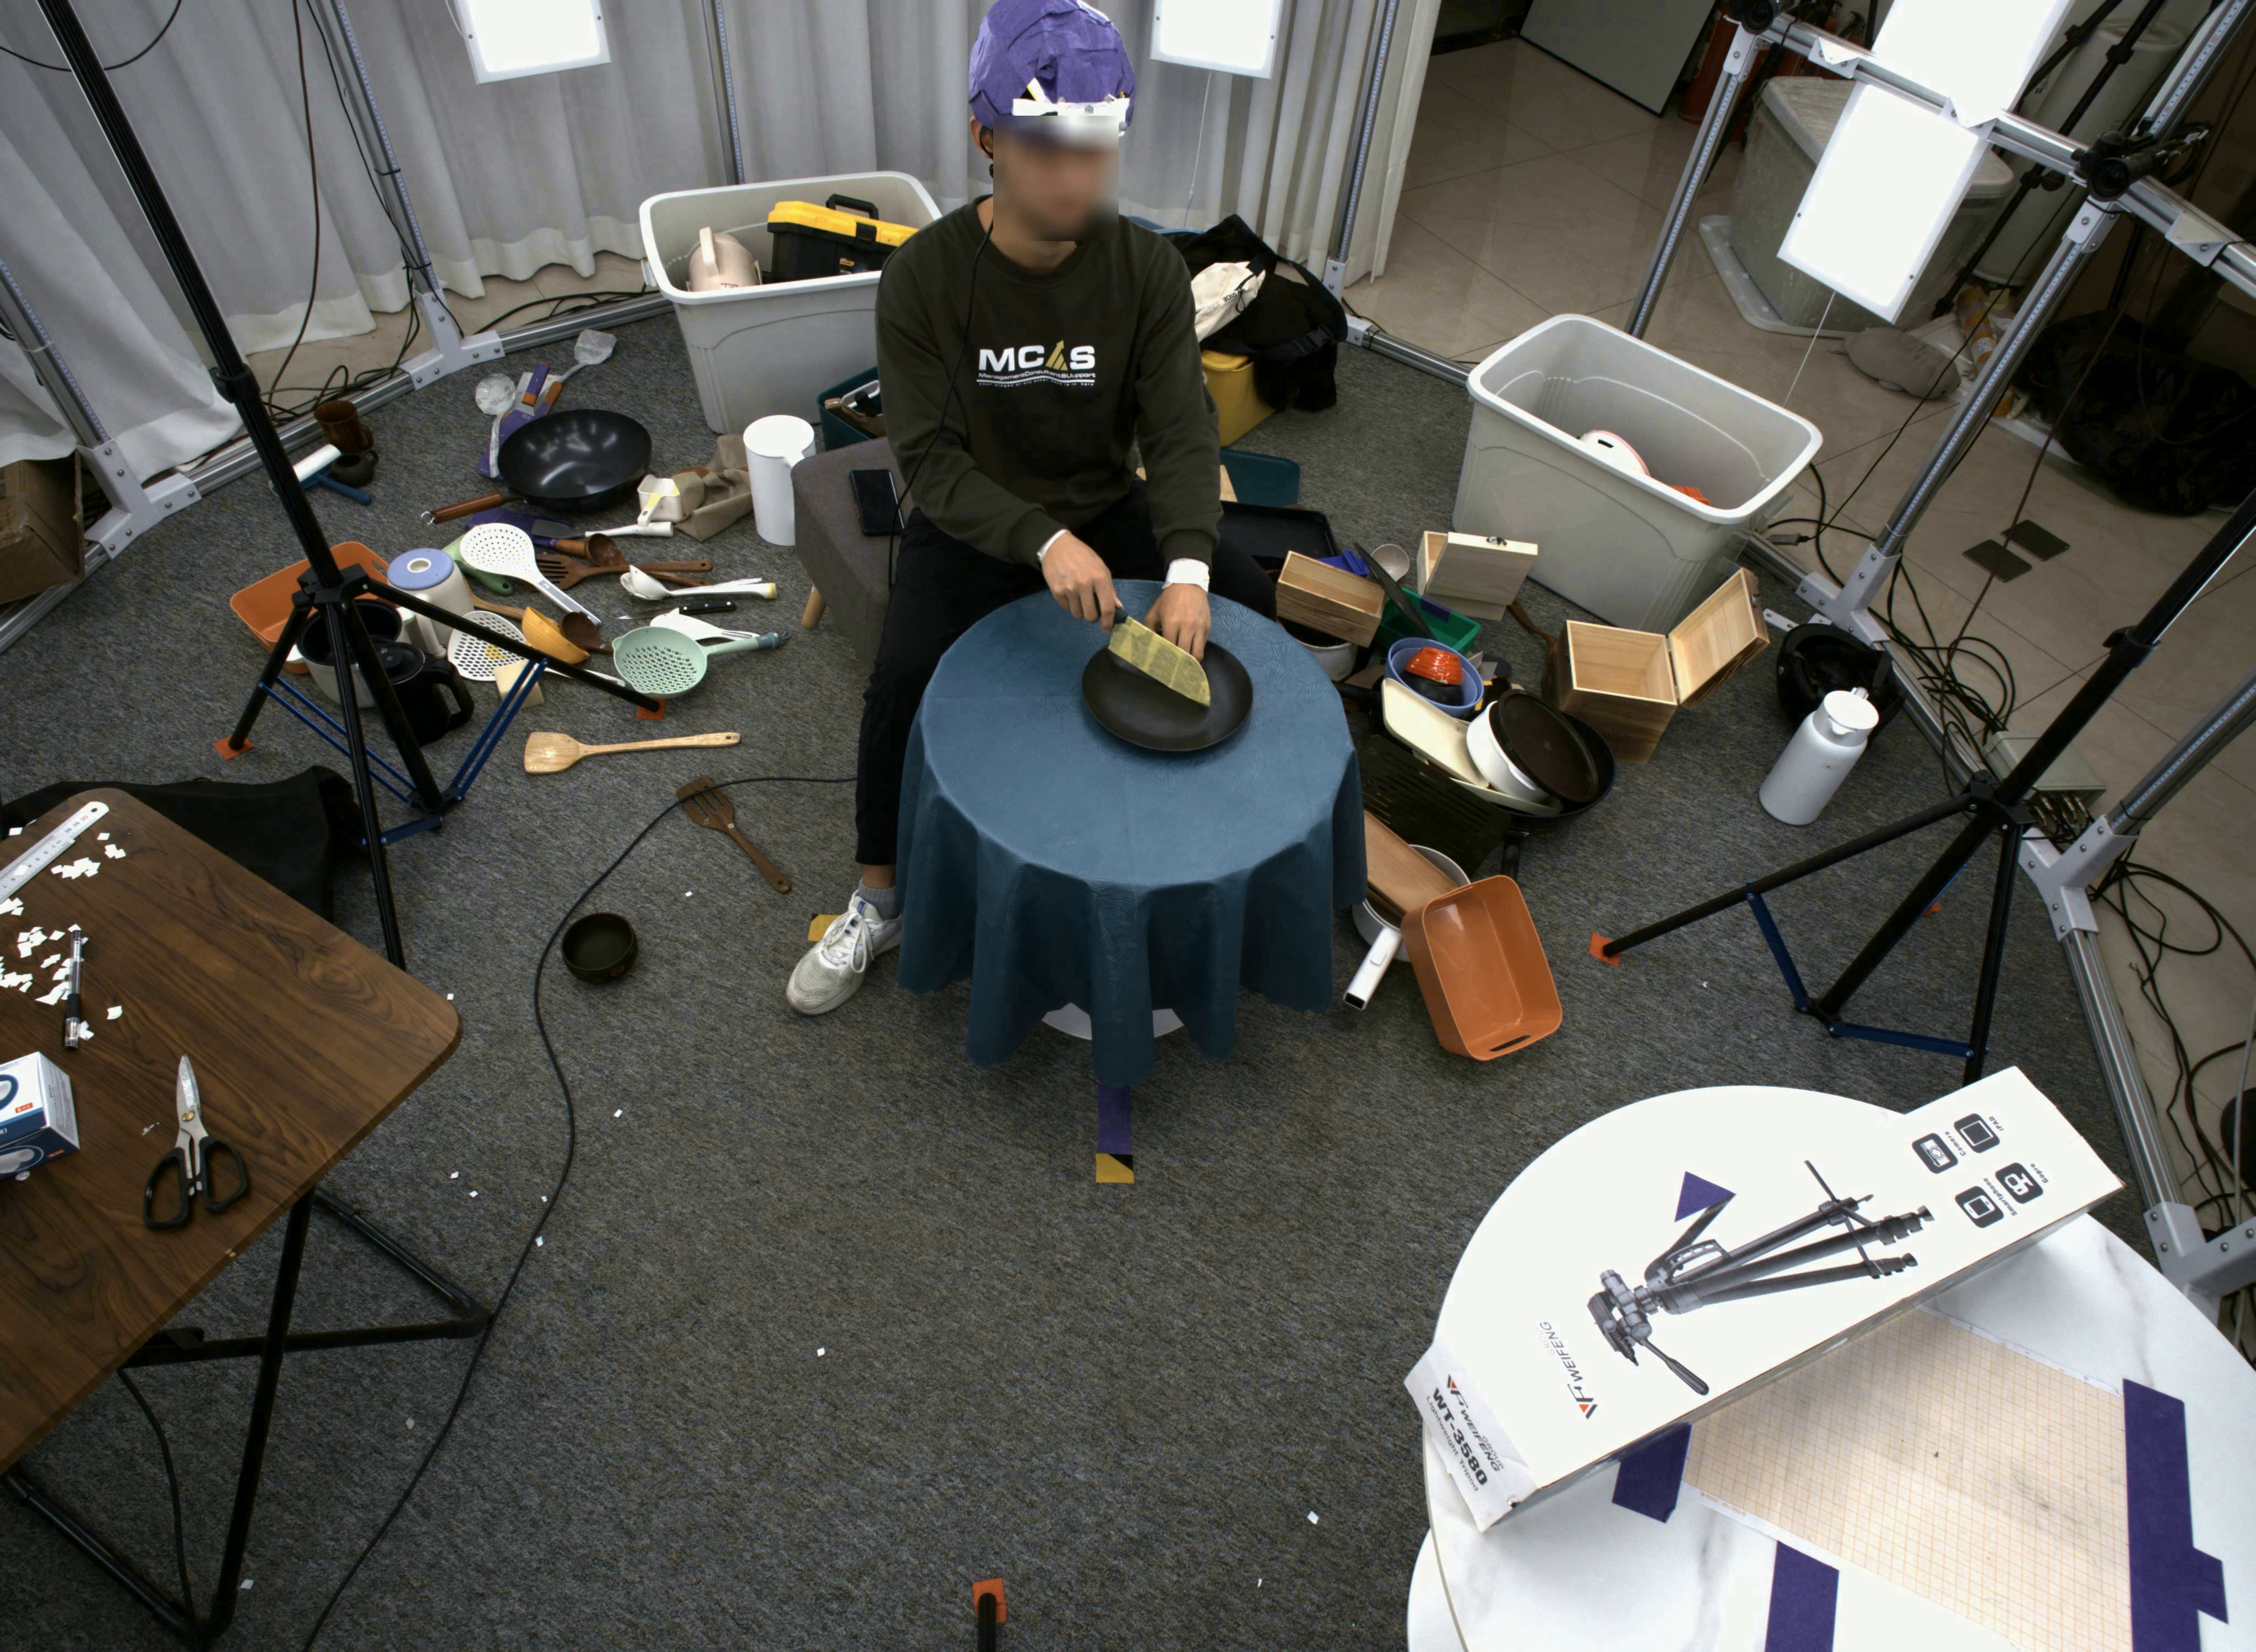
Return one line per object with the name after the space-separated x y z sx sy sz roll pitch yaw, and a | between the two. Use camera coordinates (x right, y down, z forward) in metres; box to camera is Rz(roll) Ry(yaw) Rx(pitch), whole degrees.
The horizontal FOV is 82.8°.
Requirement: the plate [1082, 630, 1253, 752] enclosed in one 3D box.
0.056 -0.189 1.820 0.244 0.023 0.250 2 49 -3 | plate

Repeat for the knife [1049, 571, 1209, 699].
0.001 -0.270 1.826 0.292 0.079 0.027 38 47 13 | knife
